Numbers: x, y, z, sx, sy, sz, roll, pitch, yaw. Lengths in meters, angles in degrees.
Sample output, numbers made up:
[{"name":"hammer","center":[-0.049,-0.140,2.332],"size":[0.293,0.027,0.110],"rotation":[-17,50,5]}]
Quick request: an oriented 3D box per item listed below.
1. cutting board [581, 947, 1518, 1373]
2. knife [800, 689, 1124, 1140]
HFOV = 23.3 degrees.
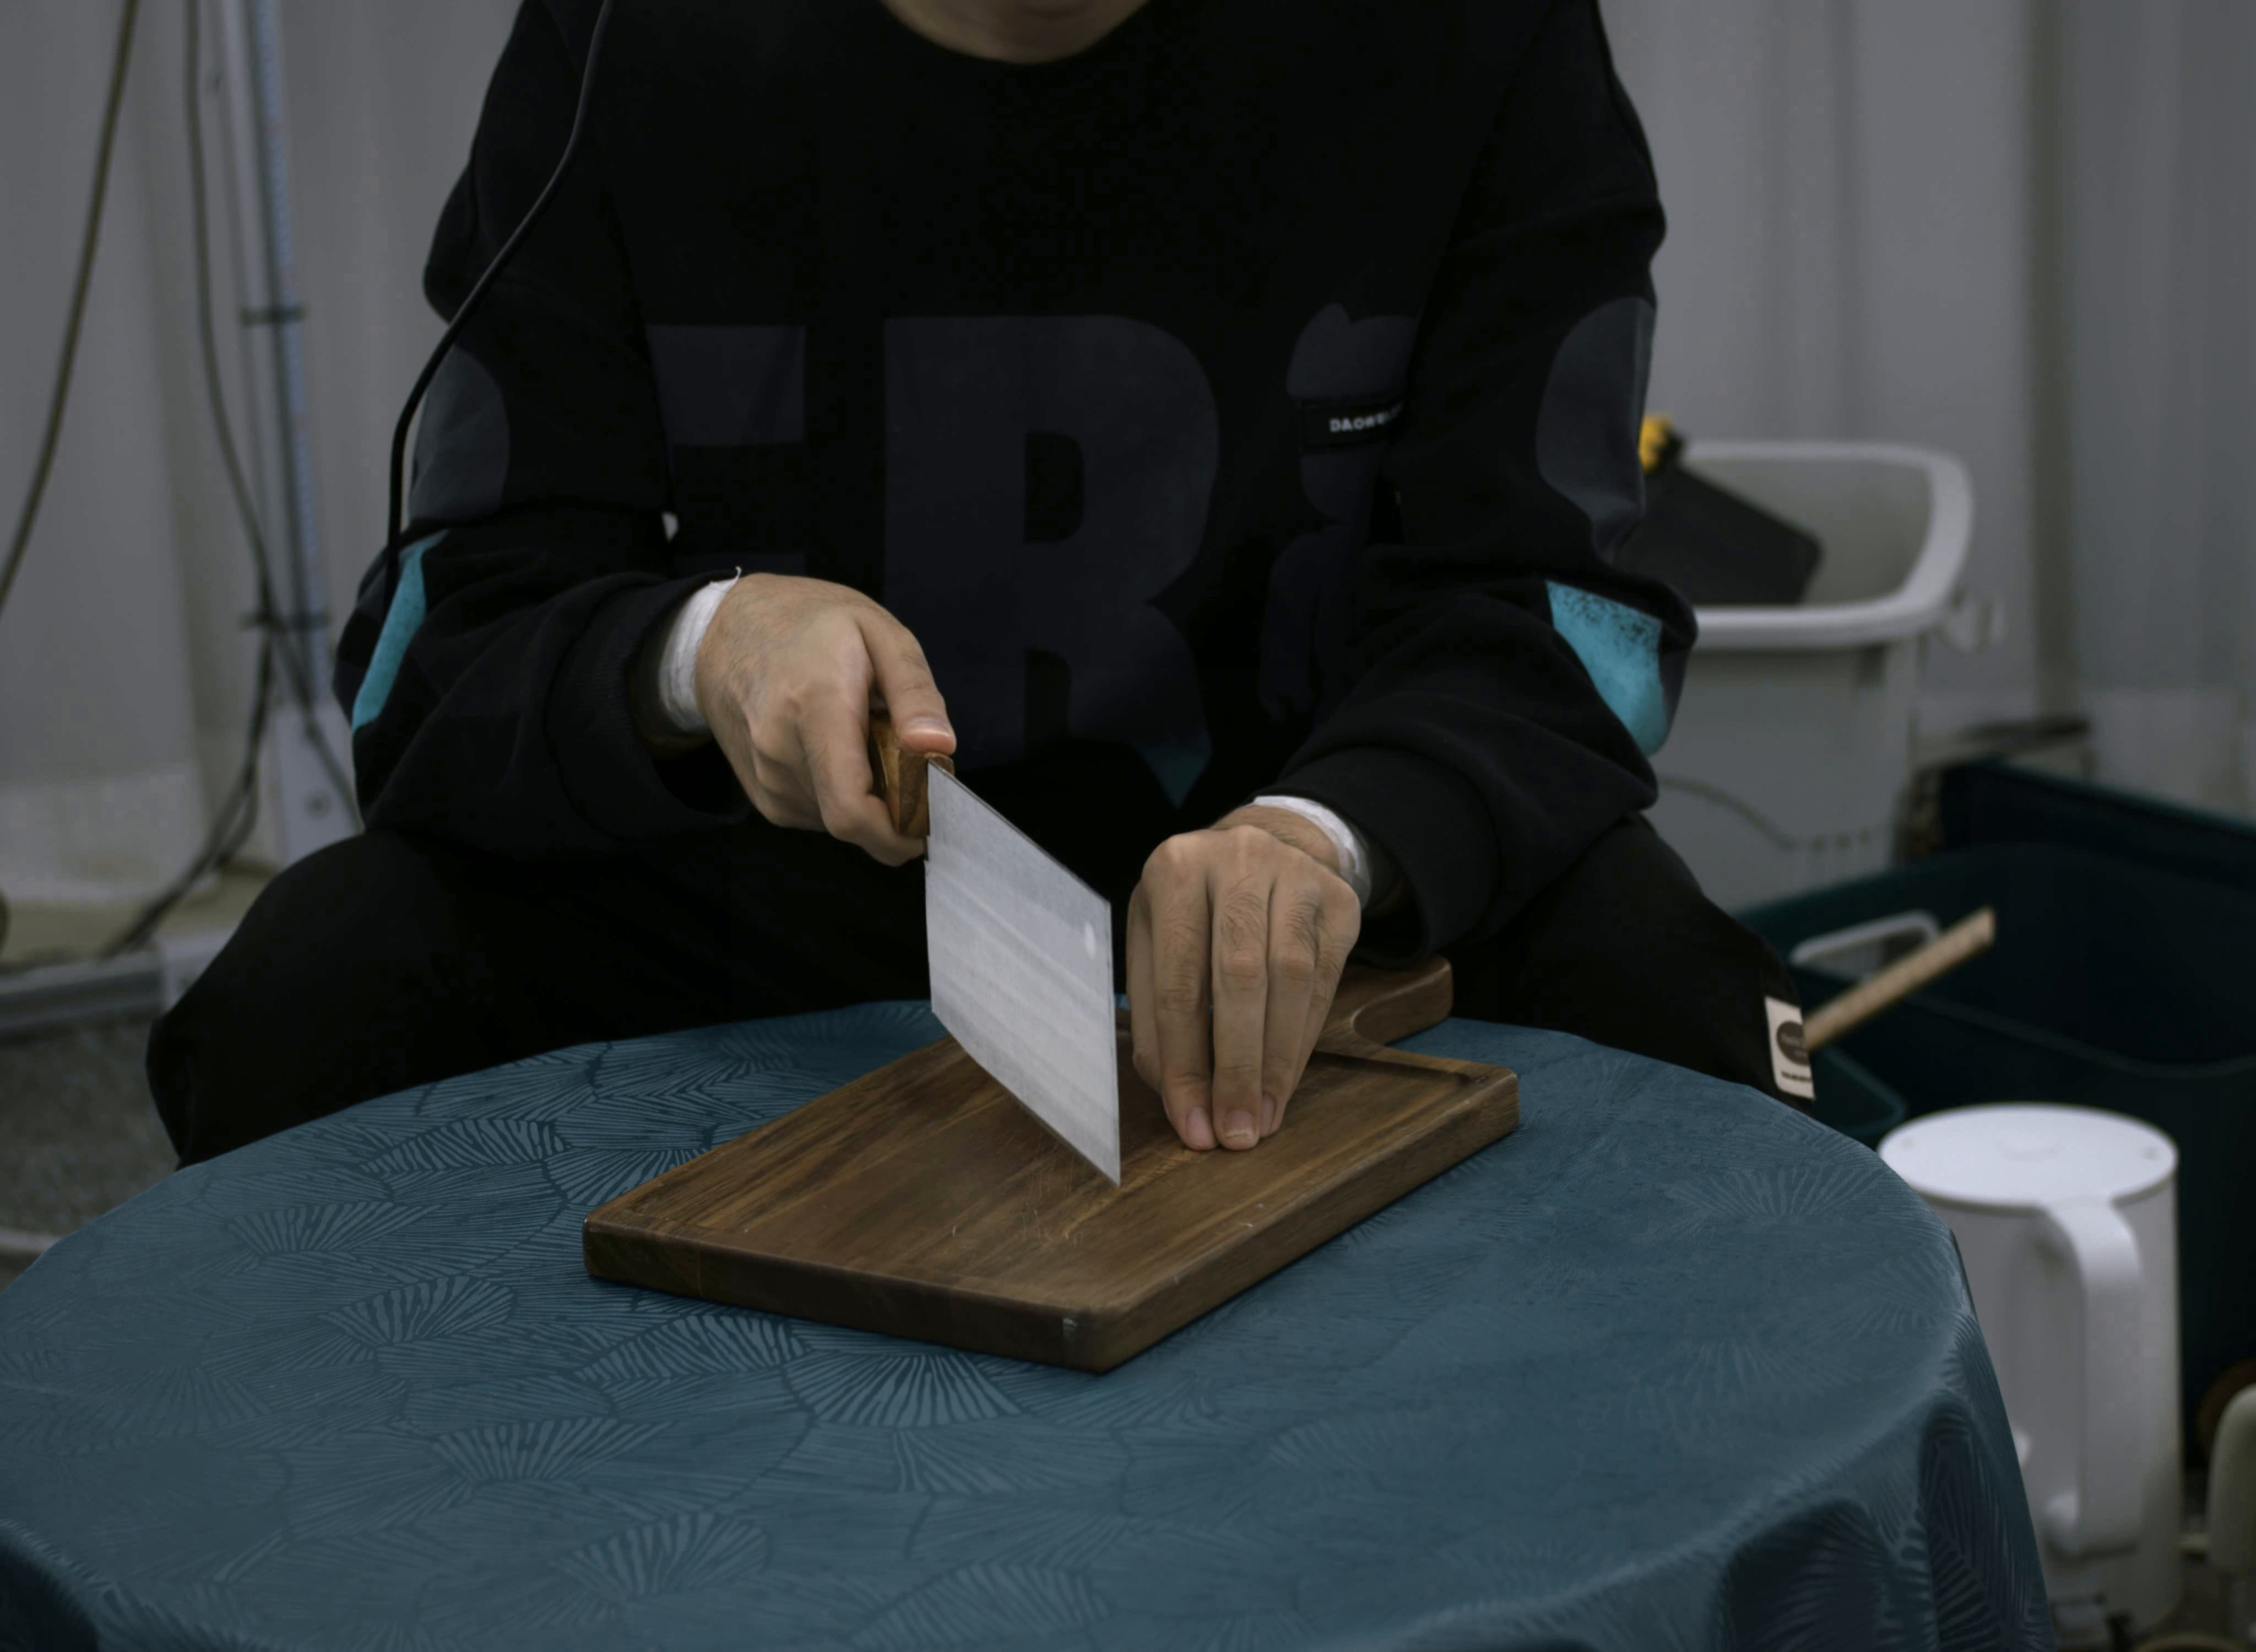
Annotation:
[{"name":"cutting board","center":[0.006,0.095,1.745],"size":[0.201,0.023,0.352],"rotation":[7,18,32]},{"name":"knife","center":[-0.053,0.027,1.745],"size":[0.021,0.092,0.308],"rotation":[-6,16,-18]}]
